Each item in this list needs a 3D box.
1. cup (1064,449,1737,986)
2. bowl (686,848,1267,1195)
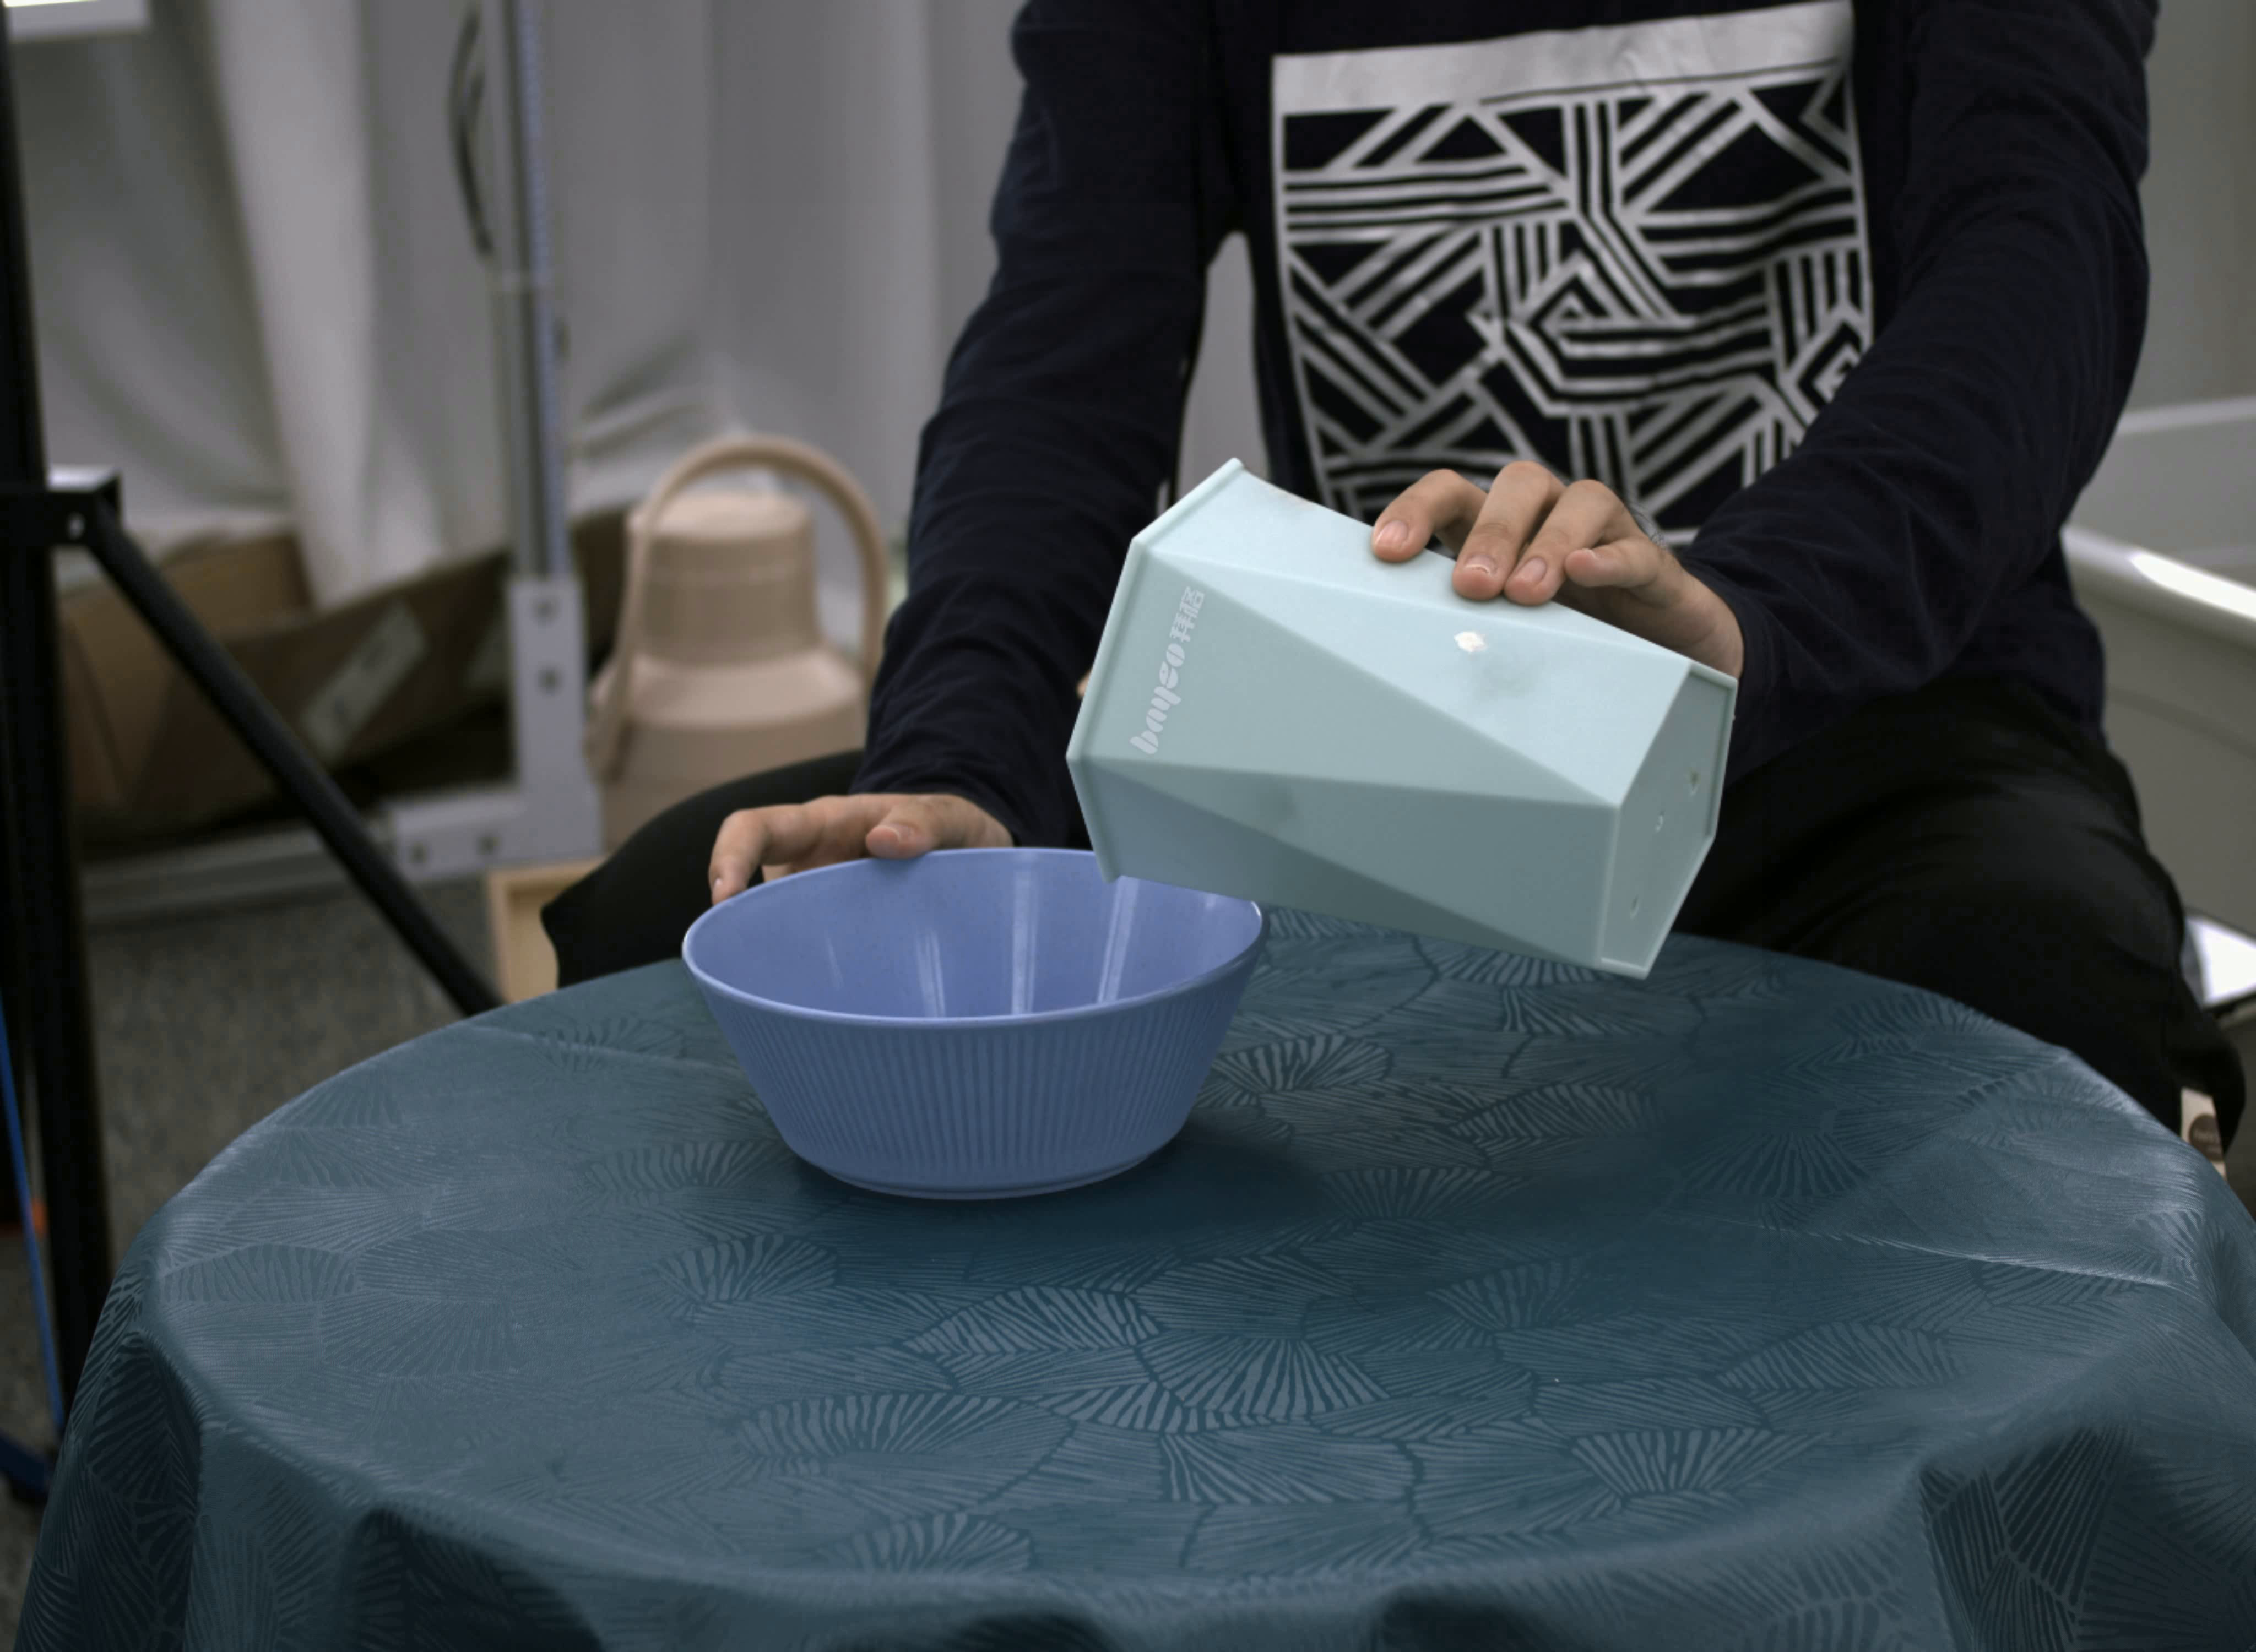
[{"bbox_3d":[0.082,-0.025,1.536,0.165,0.131,0.113,19,-1,24],"label":"cup"},{"bbox_3d":[-0.045,0.061,1.604,0.175,0.070,0.177,-2,15,-1],"label":"bowl"}]
